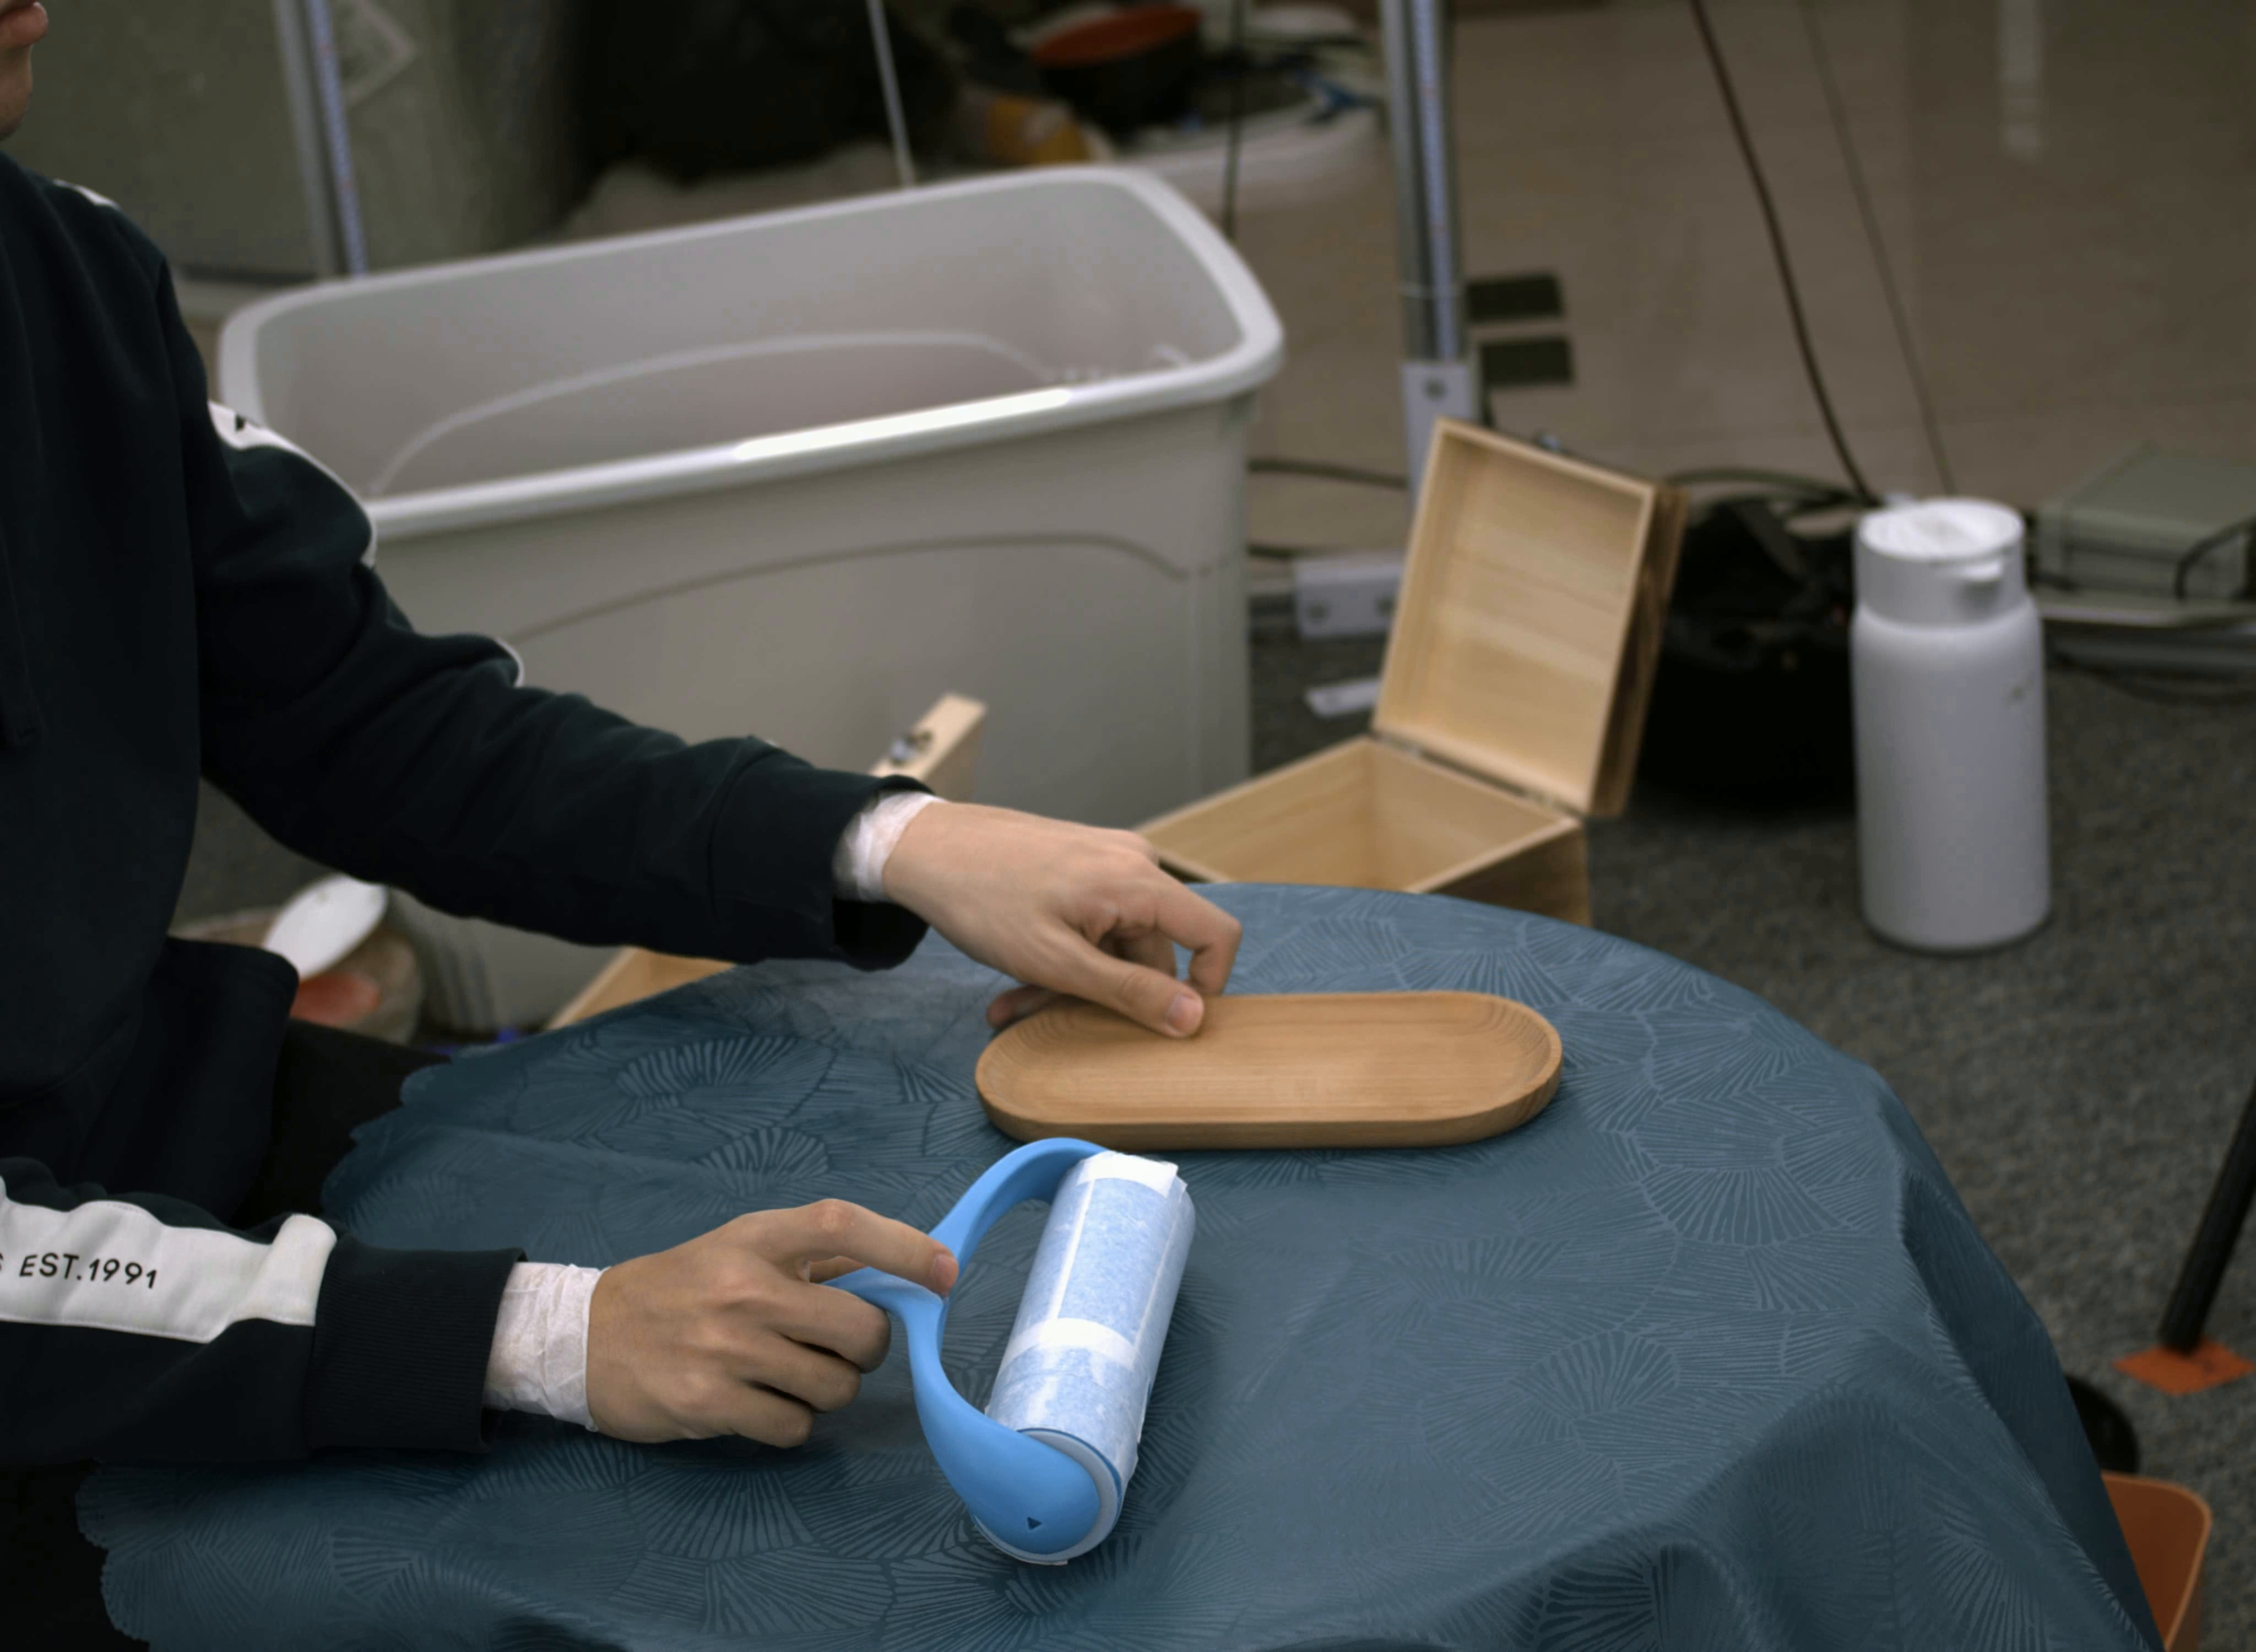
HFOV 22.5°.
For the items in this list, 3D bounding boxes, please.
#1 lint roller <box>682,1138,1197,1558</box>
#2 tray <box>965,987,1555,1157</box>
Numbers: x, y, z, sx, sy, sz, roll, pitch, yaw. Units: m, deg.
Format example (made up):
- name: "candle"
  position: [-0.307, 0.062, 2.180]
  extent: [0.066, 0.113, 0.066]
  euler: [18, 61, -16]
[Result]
- name: "lint roller"
  position: [-0.073, 0.184, 1.996]
  extent: [0.180, 0.069, 0.225]
  euler: [-2, 27, 7]
- name: "tray"
  position: [0.051, 0.096, 2.200]
  extent: [0.231, 0.020, 0.100]
  euler: [-3, 27, 11]
